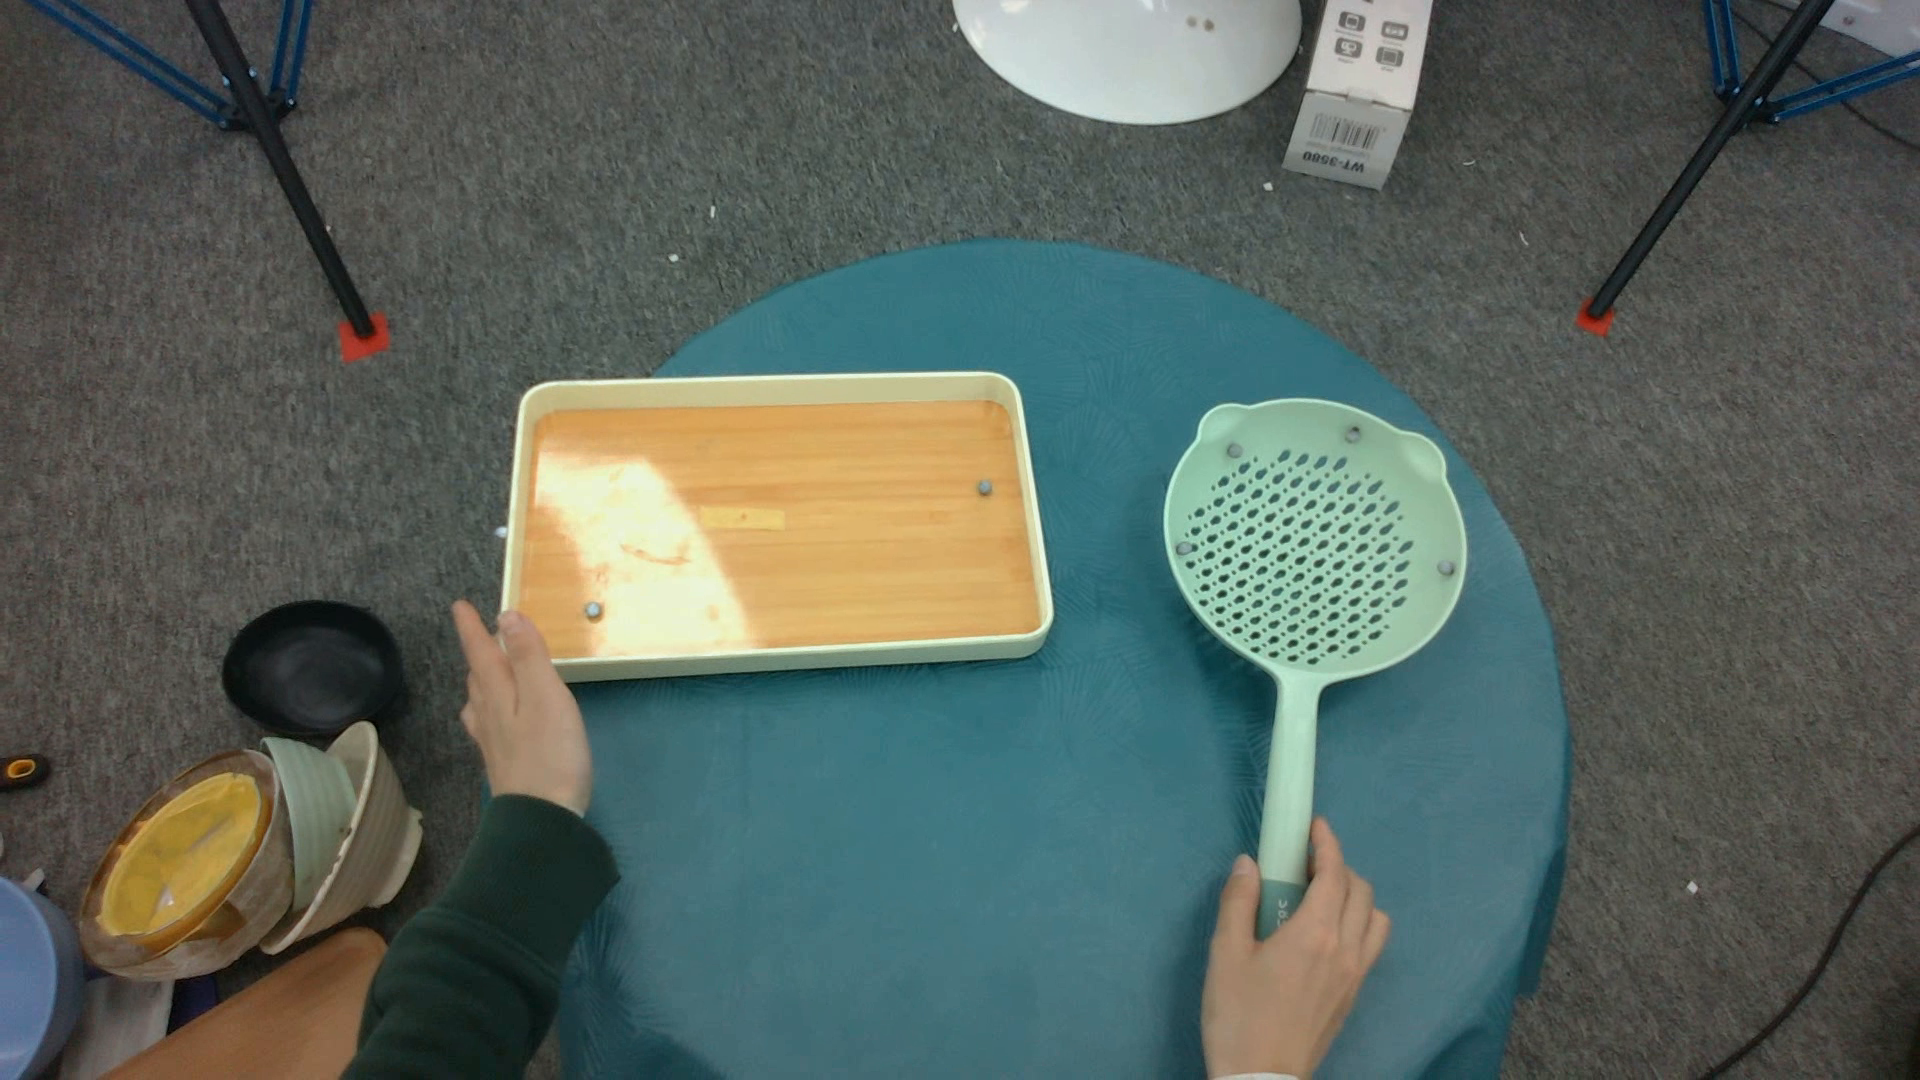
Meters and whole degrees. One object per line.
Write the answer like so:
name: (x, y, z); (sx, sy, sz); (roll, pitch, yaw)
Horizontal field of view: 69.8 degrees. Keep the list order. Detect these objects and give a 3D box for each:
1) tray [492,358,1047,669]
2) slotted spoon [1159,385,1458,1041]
tray: (-0.108, -0.021, 0.798); (0.300, 0.027, 0.192); (-2, 59, -7)
slotted spoon: (0.177, 0.080, 0.745); (0.169, 0.075, 0.360); (10, 59, 3)
